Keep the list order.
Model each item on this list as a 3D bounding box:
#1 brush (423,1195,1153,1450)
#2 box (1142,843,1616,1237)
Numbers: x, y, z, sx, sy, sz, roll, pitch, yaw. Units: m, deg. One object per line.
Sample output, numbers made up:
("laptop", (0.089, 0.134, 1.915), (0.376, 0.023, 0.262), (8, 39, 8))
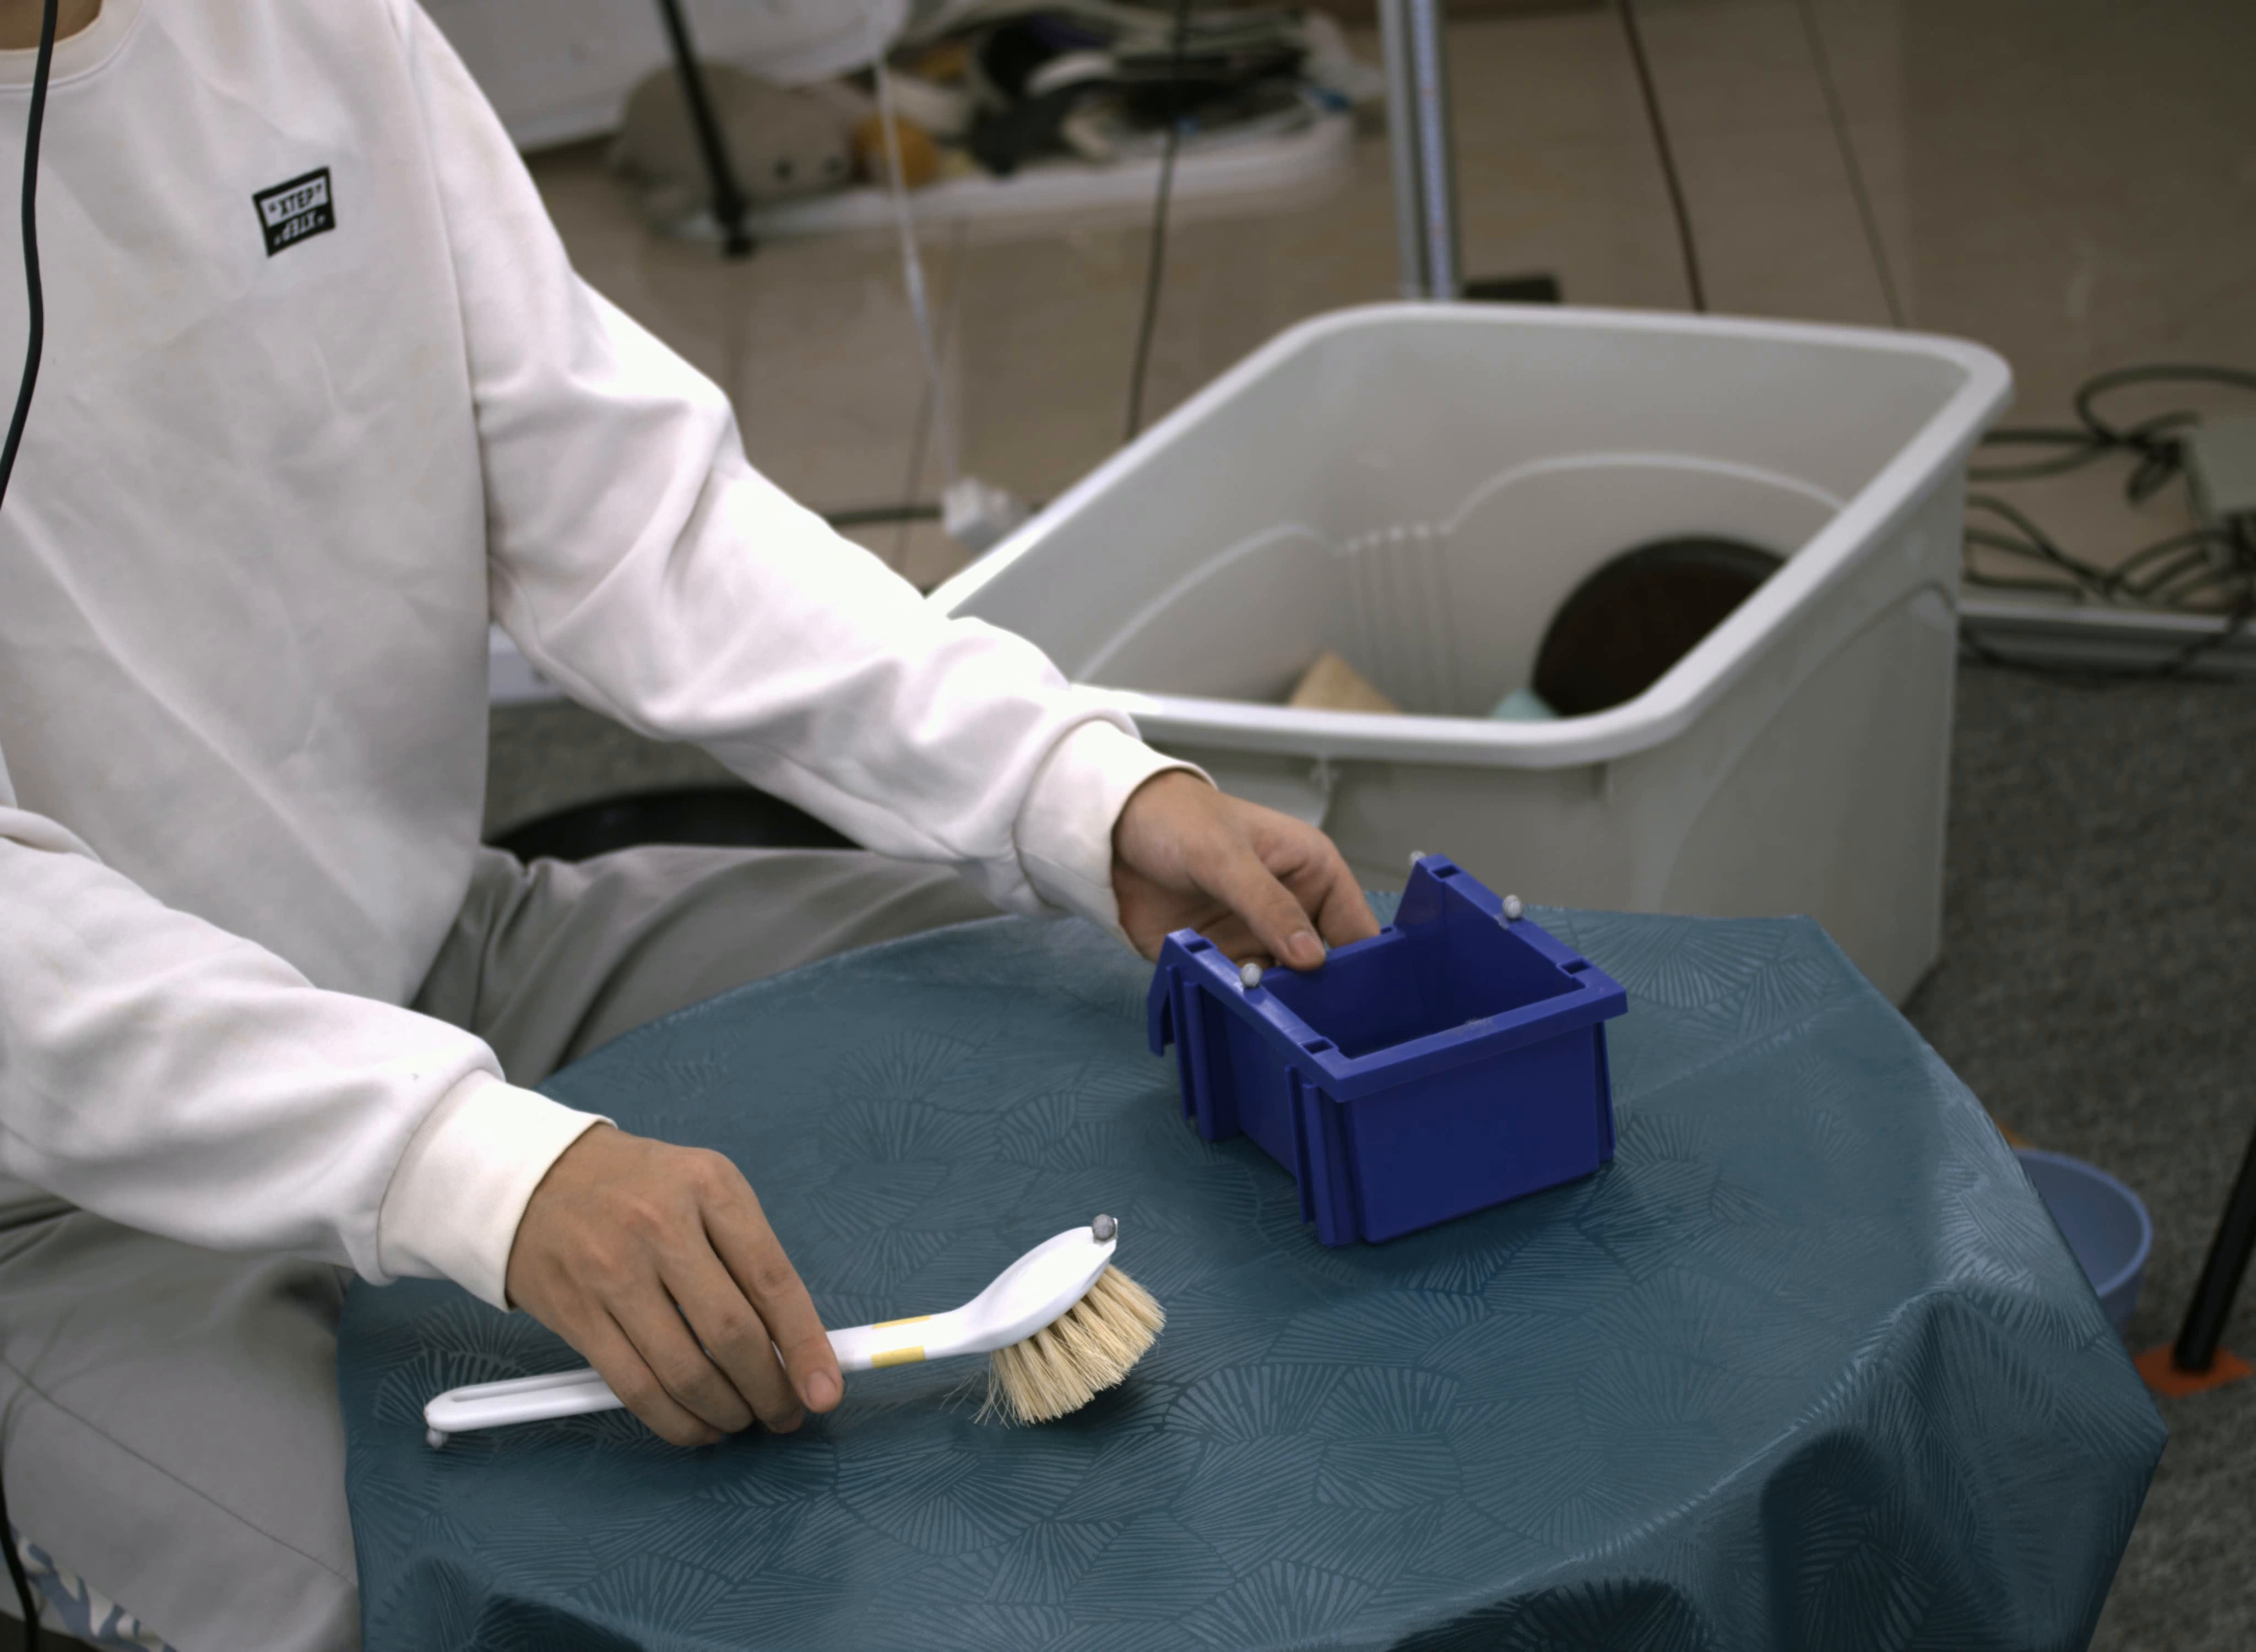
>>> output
("brush", (-0.118, 0.198, 2.021), (0.266, 0.056, 0.068), (-19, 9, 6))
("box", (0.091, 0.078, 2.157), (0.124, 0.083, 0.177), (-16, 28, -19))
